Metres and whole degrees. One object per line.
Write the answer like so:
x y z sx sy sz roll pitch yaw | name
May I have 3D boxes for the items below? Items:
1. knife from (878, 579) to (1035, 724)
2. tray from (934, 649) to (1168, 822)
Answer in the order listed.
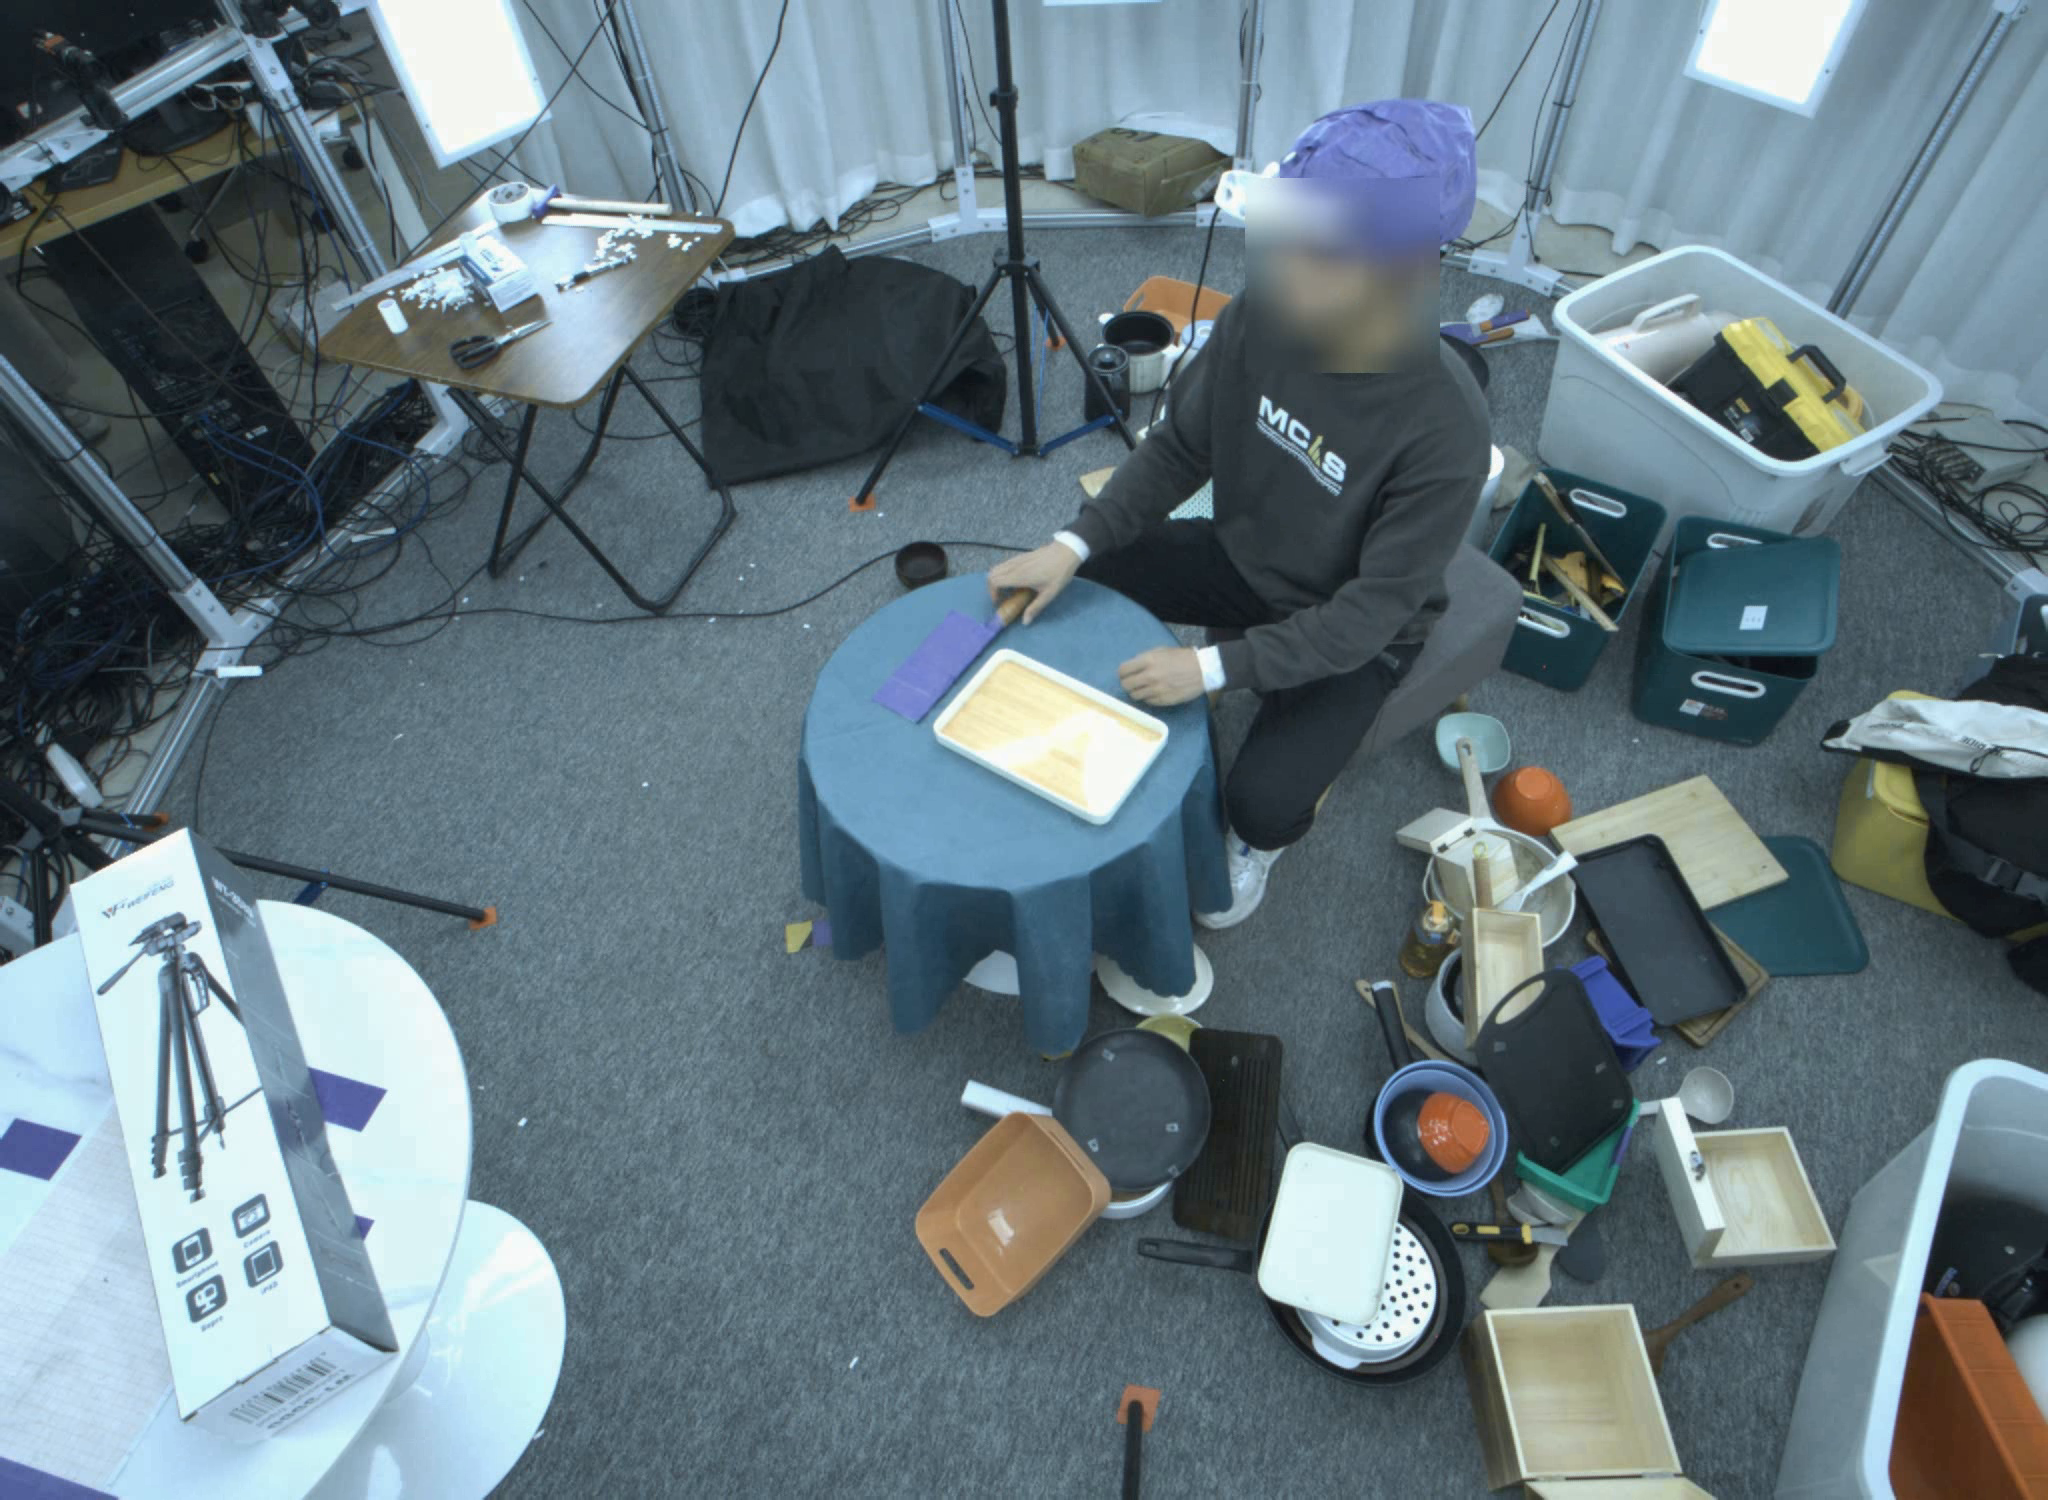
-0.106 -0.168 1.901 0.102 0.032 0.316 28 60 20 | knife
0.039 -0.026 1.796 0.296 0.028 0.192 27 59 19 | tray
